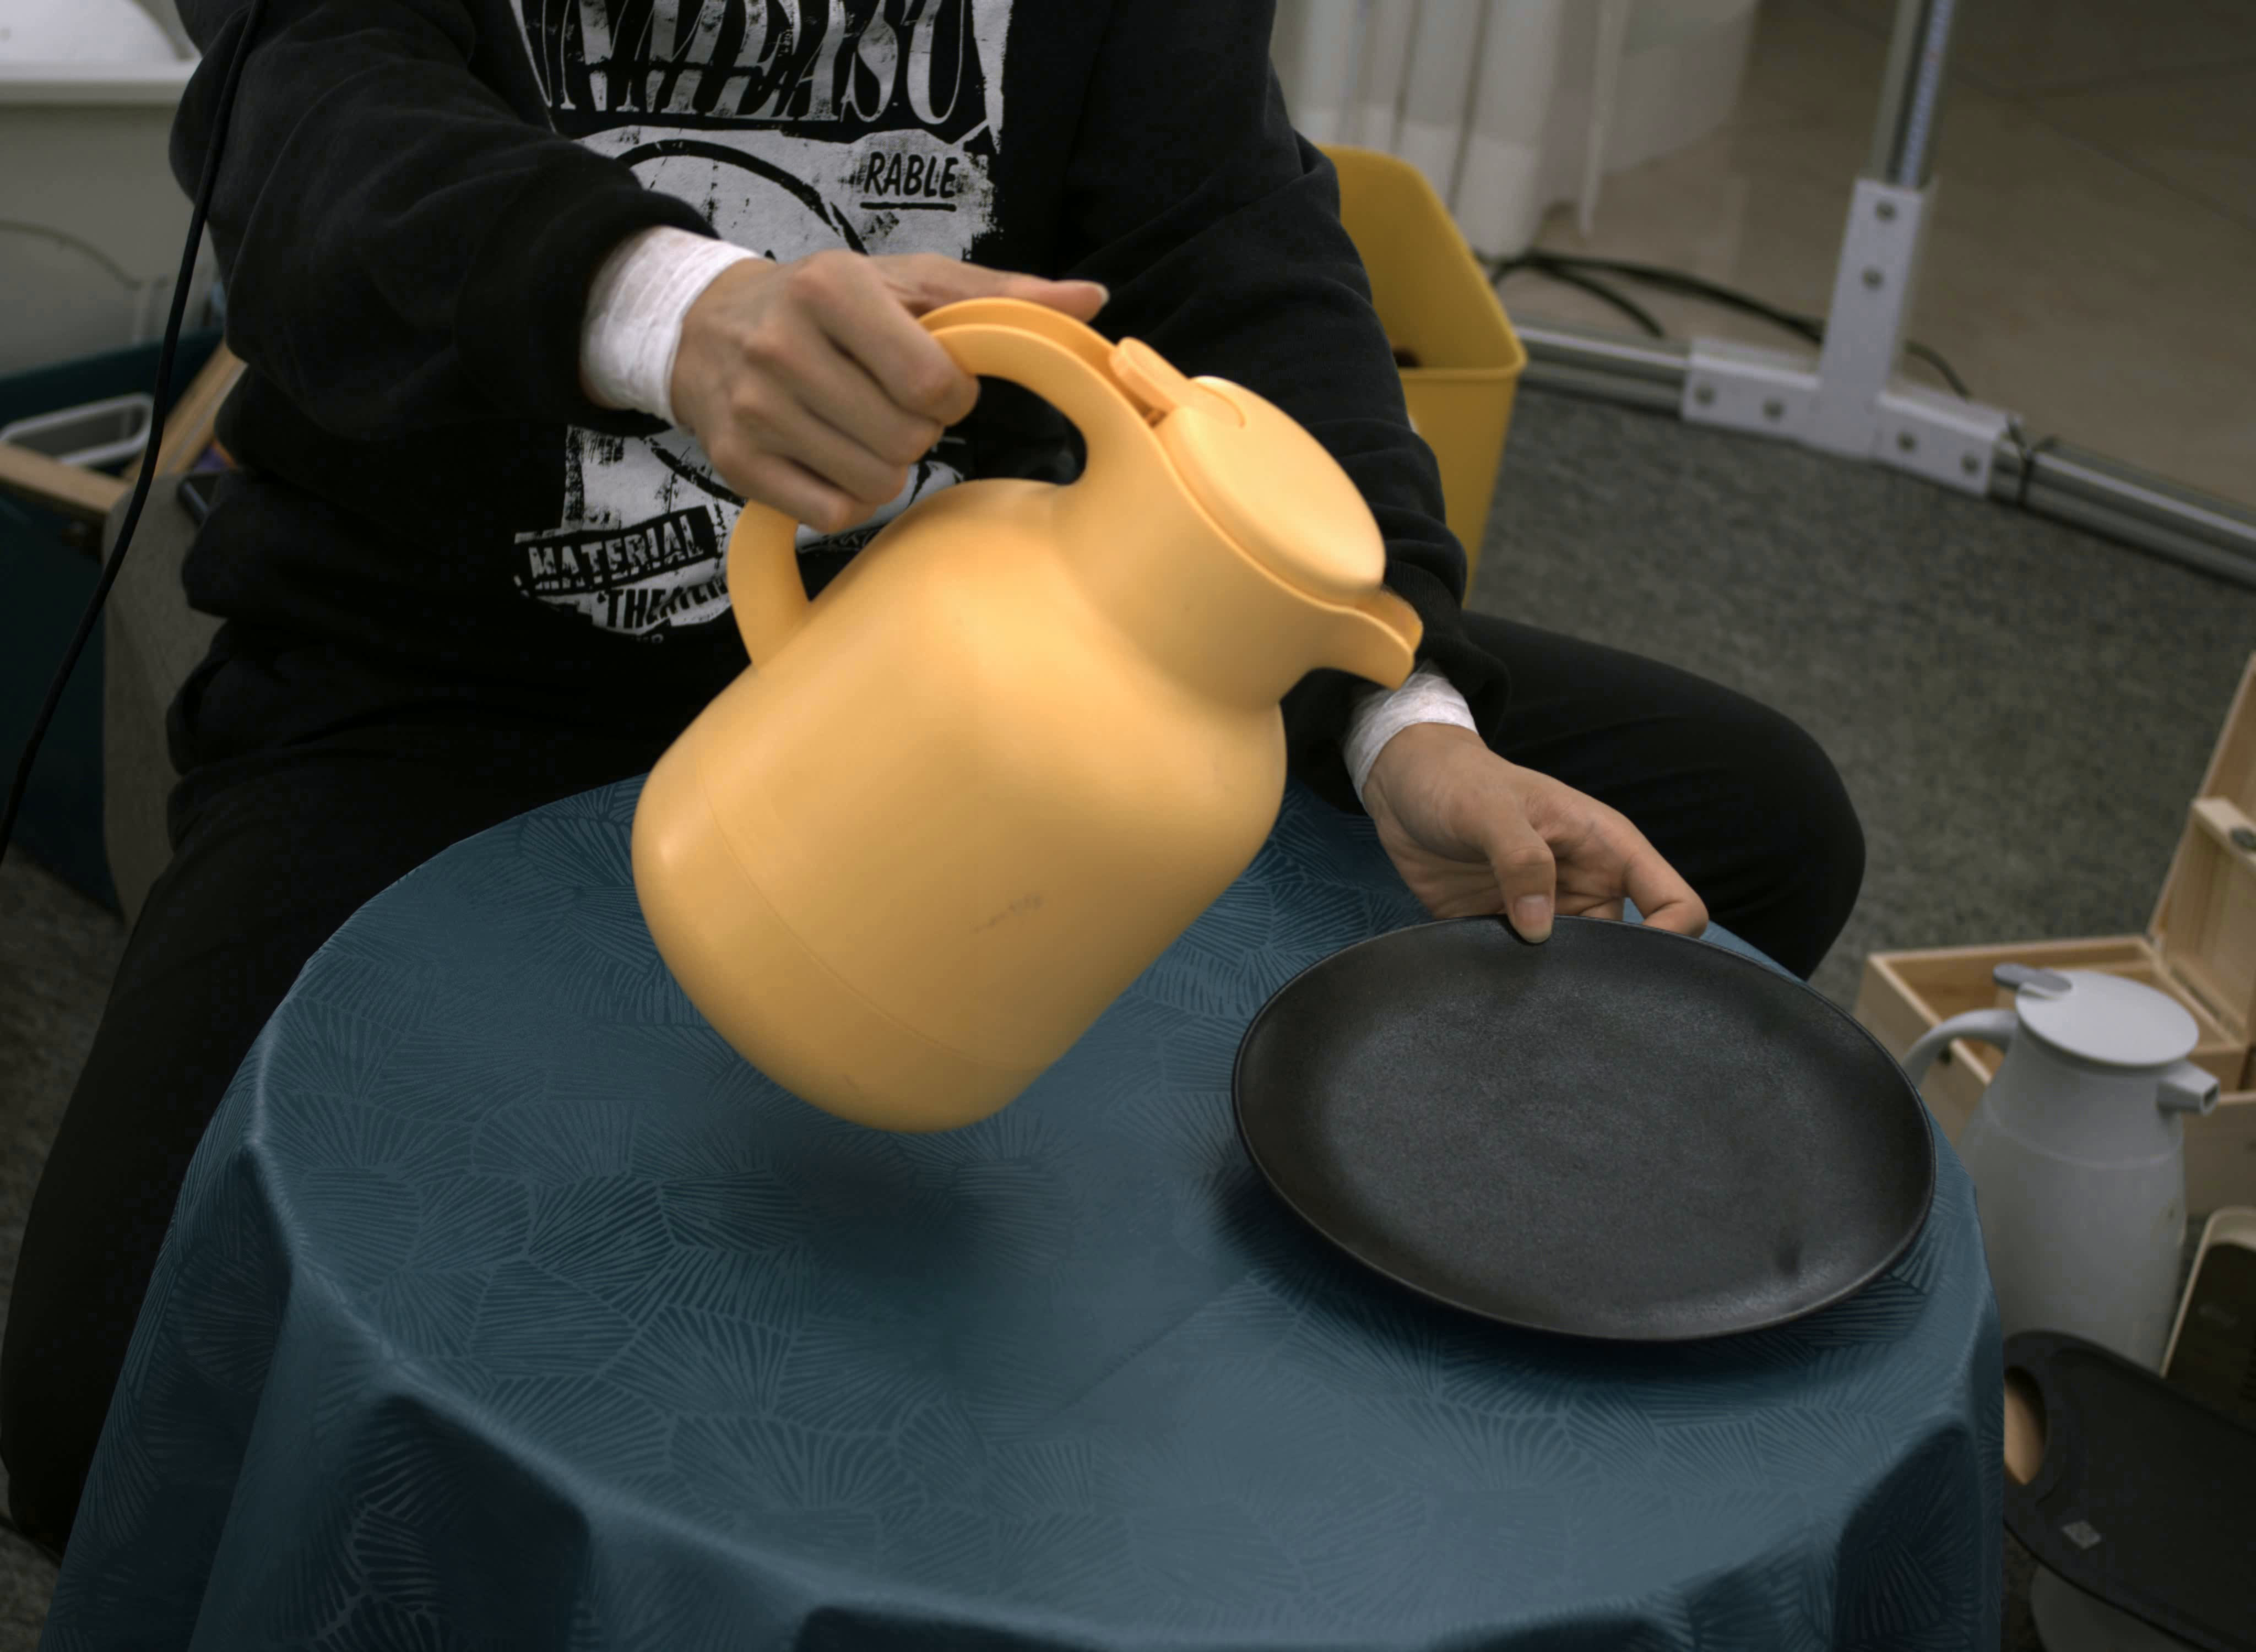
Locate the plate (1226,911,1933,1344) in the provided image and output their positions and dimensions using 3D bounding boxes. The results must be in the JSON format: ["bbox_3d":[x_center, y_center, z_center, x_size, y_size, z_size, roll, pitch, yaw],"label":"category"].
[{"bbox_3d":[0.154,0.107,1.825,0.243,0.023,0.246,4,33,-3],"label":"plate"}]

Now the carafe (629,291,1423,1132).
[{"bbox_3d":[-0.046,-0.045,1.713,0.202,0.260,0.164,43,22,-7],"label":"carafe"}]
